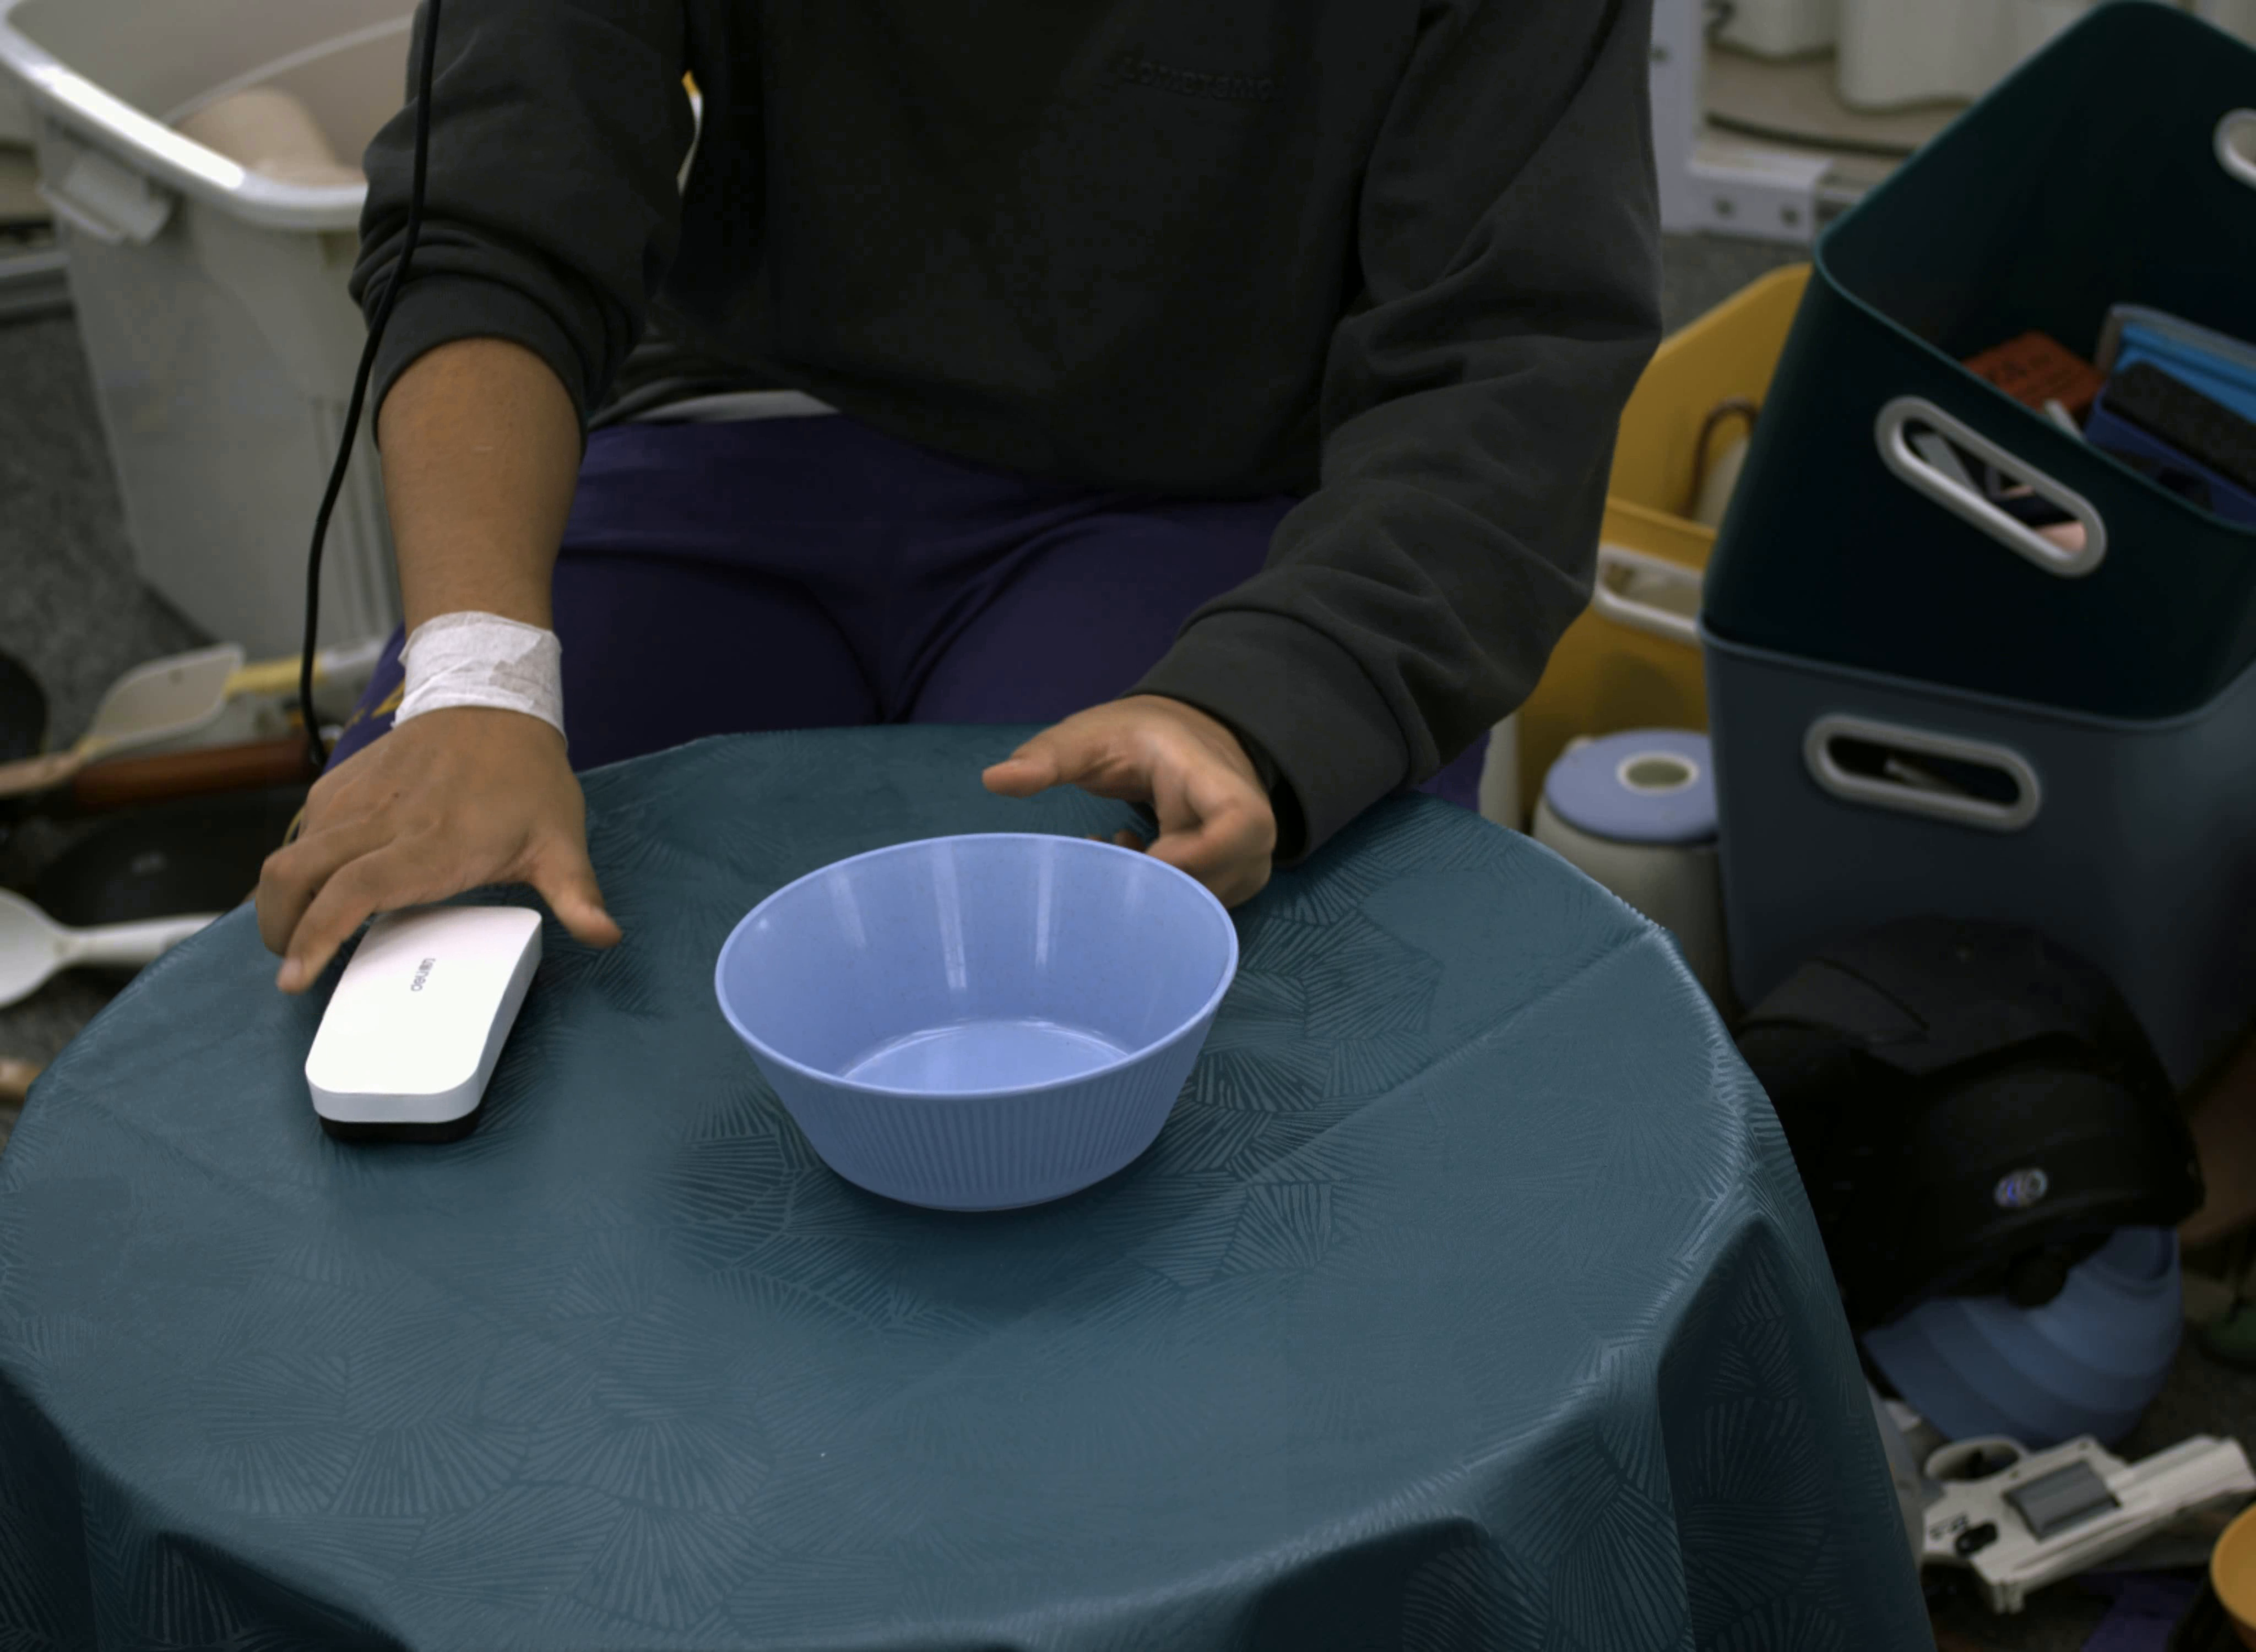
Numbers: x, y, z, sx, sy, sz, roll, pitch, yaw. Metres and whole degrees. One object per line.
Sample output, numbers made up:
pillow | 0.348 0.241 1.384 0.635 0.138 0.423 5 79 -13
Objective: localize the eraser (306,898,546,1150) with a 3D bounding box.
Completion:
eraser | -0.242 0.066 1.959 0.063 0.034 0.133 3 30 8

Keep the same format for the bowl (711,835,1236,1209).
bowl | -0.050 0.072 1.887 0.175 0.069 0.179 -2 28 1
